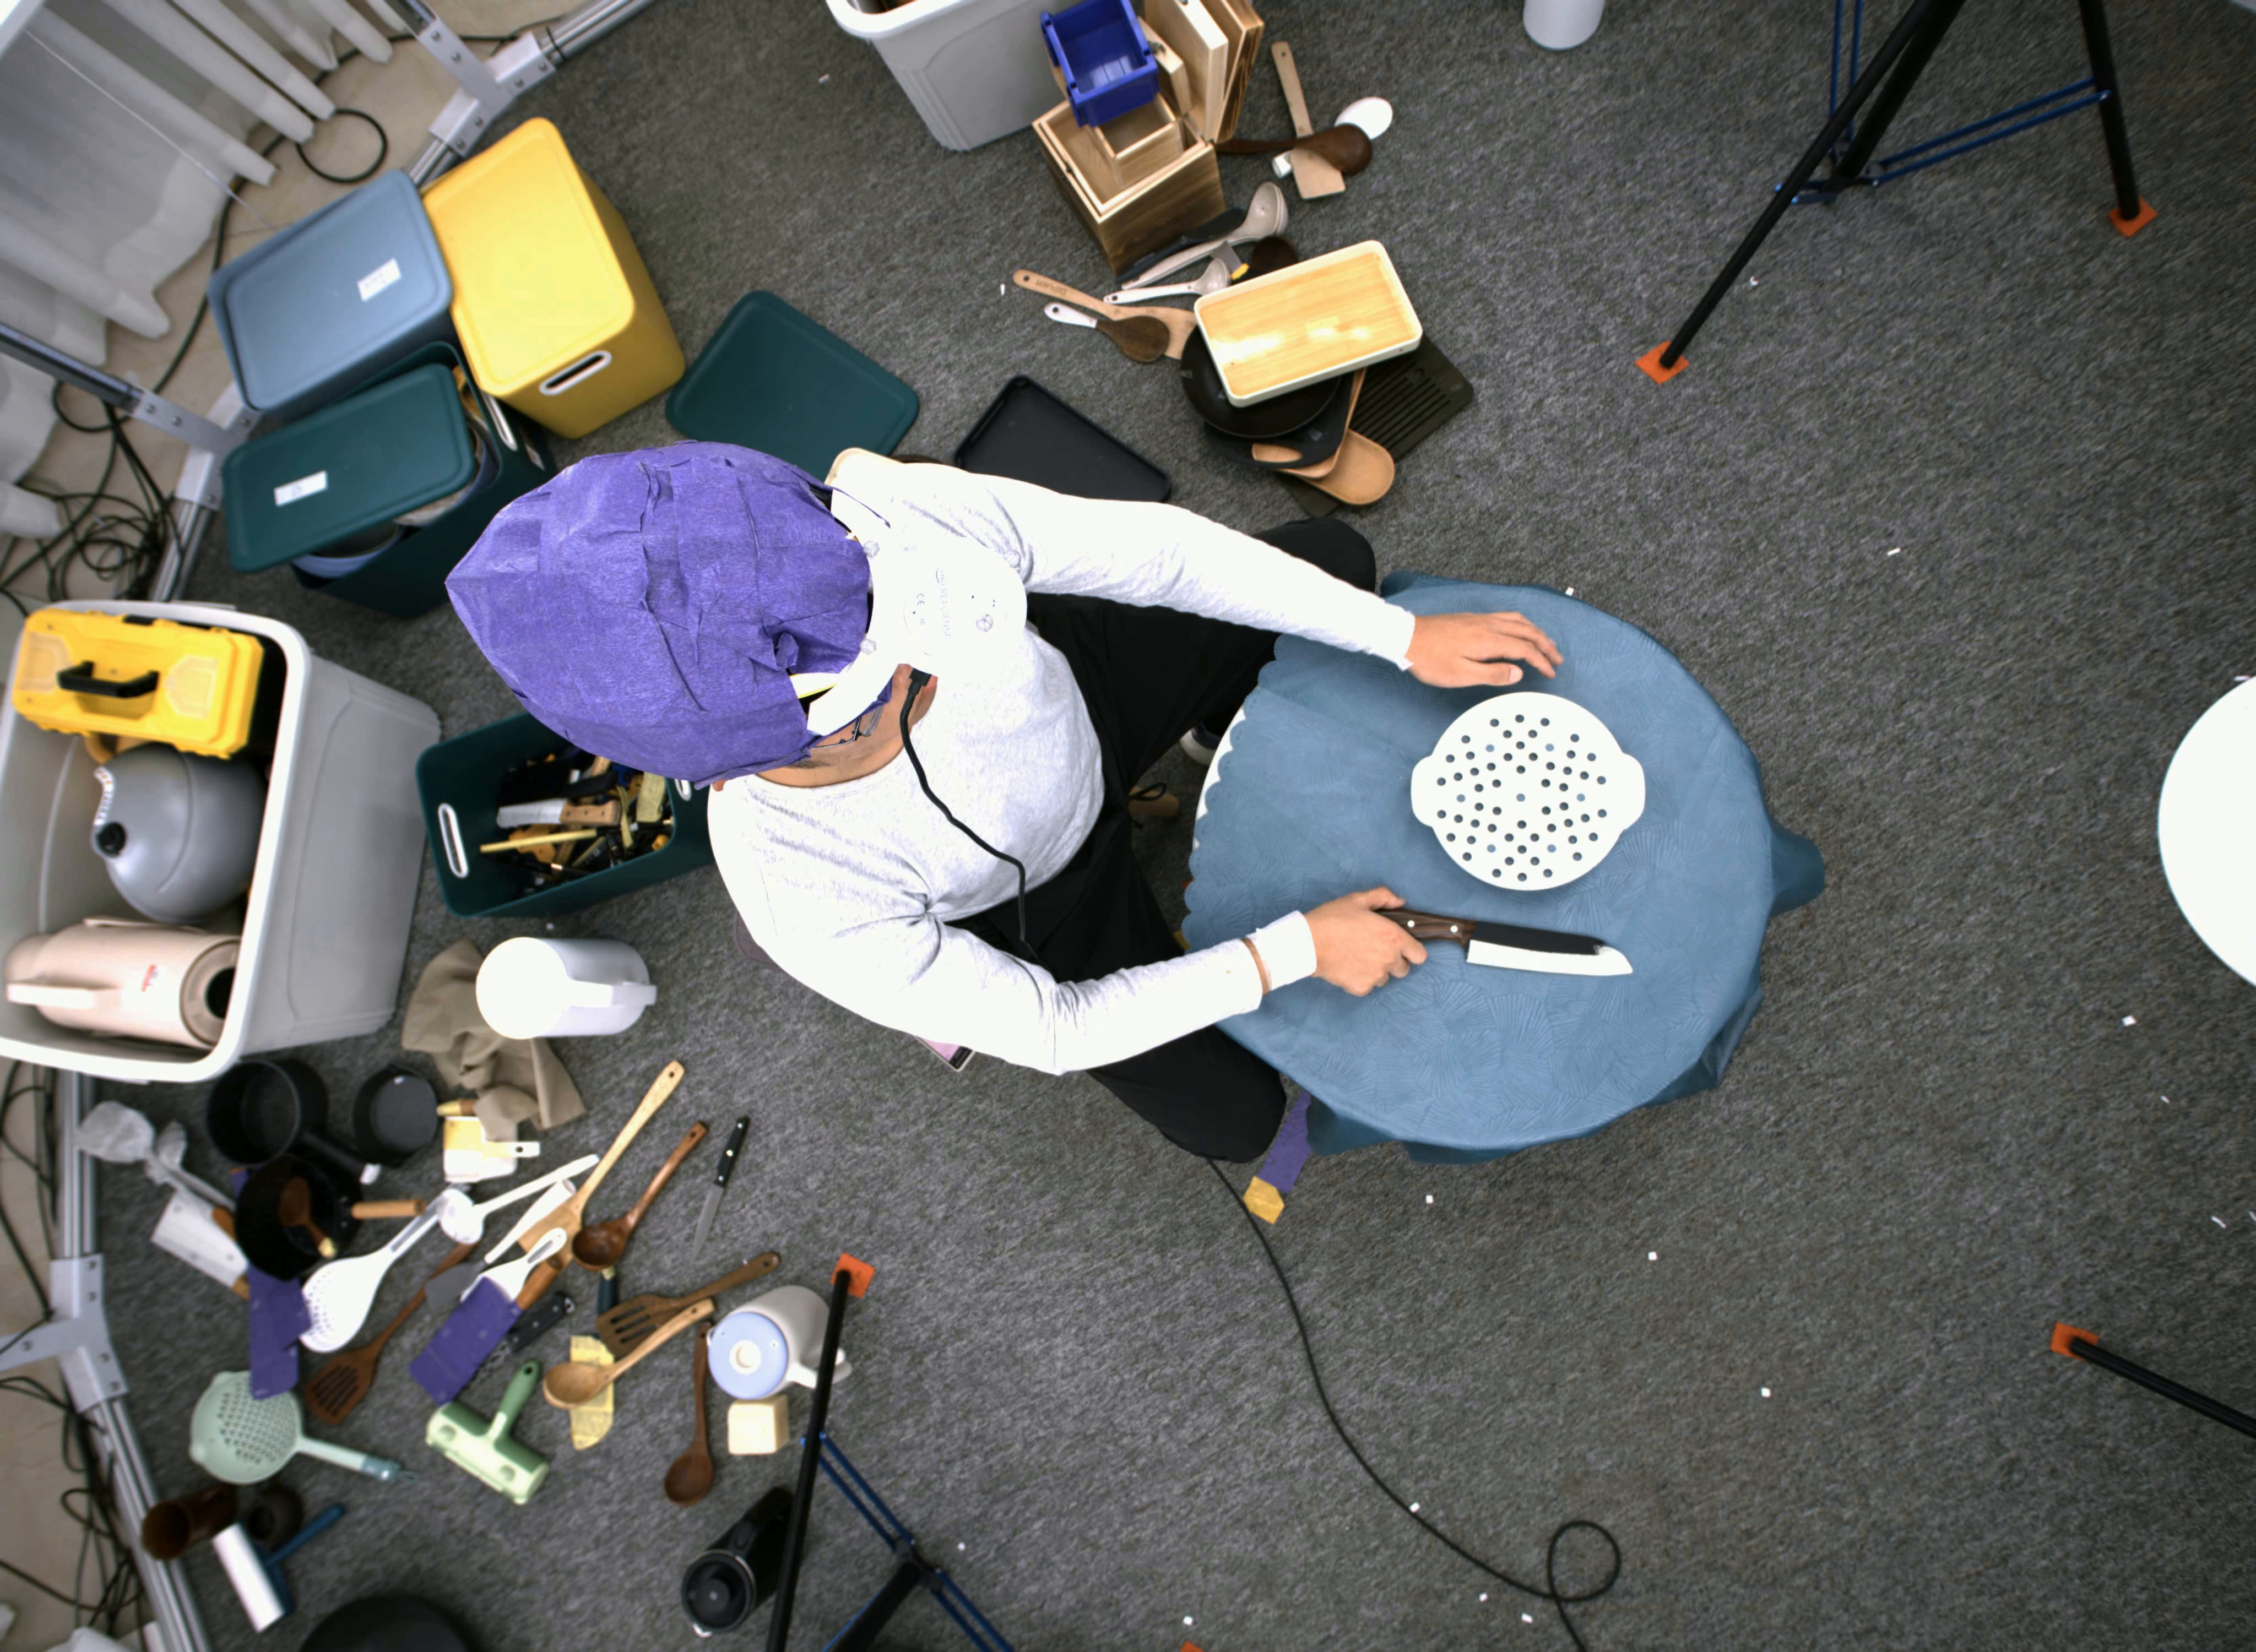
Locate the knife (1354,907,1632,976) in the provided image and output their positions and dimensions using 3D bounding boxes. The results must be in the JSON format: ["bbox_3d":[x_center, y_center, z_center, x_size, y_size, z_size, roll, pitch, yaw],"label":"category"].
[{"bbox_3d":[0.377,0.118,1.429,0.290,0.020,0.050,10,94,9],"label":"knife"}]

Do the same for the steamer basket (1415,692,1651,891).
[{"bbox_3d":[0.411,-0.036,1.405,0.231,0.069,0.201,0,86,12],"label":"steamer basket"}]
